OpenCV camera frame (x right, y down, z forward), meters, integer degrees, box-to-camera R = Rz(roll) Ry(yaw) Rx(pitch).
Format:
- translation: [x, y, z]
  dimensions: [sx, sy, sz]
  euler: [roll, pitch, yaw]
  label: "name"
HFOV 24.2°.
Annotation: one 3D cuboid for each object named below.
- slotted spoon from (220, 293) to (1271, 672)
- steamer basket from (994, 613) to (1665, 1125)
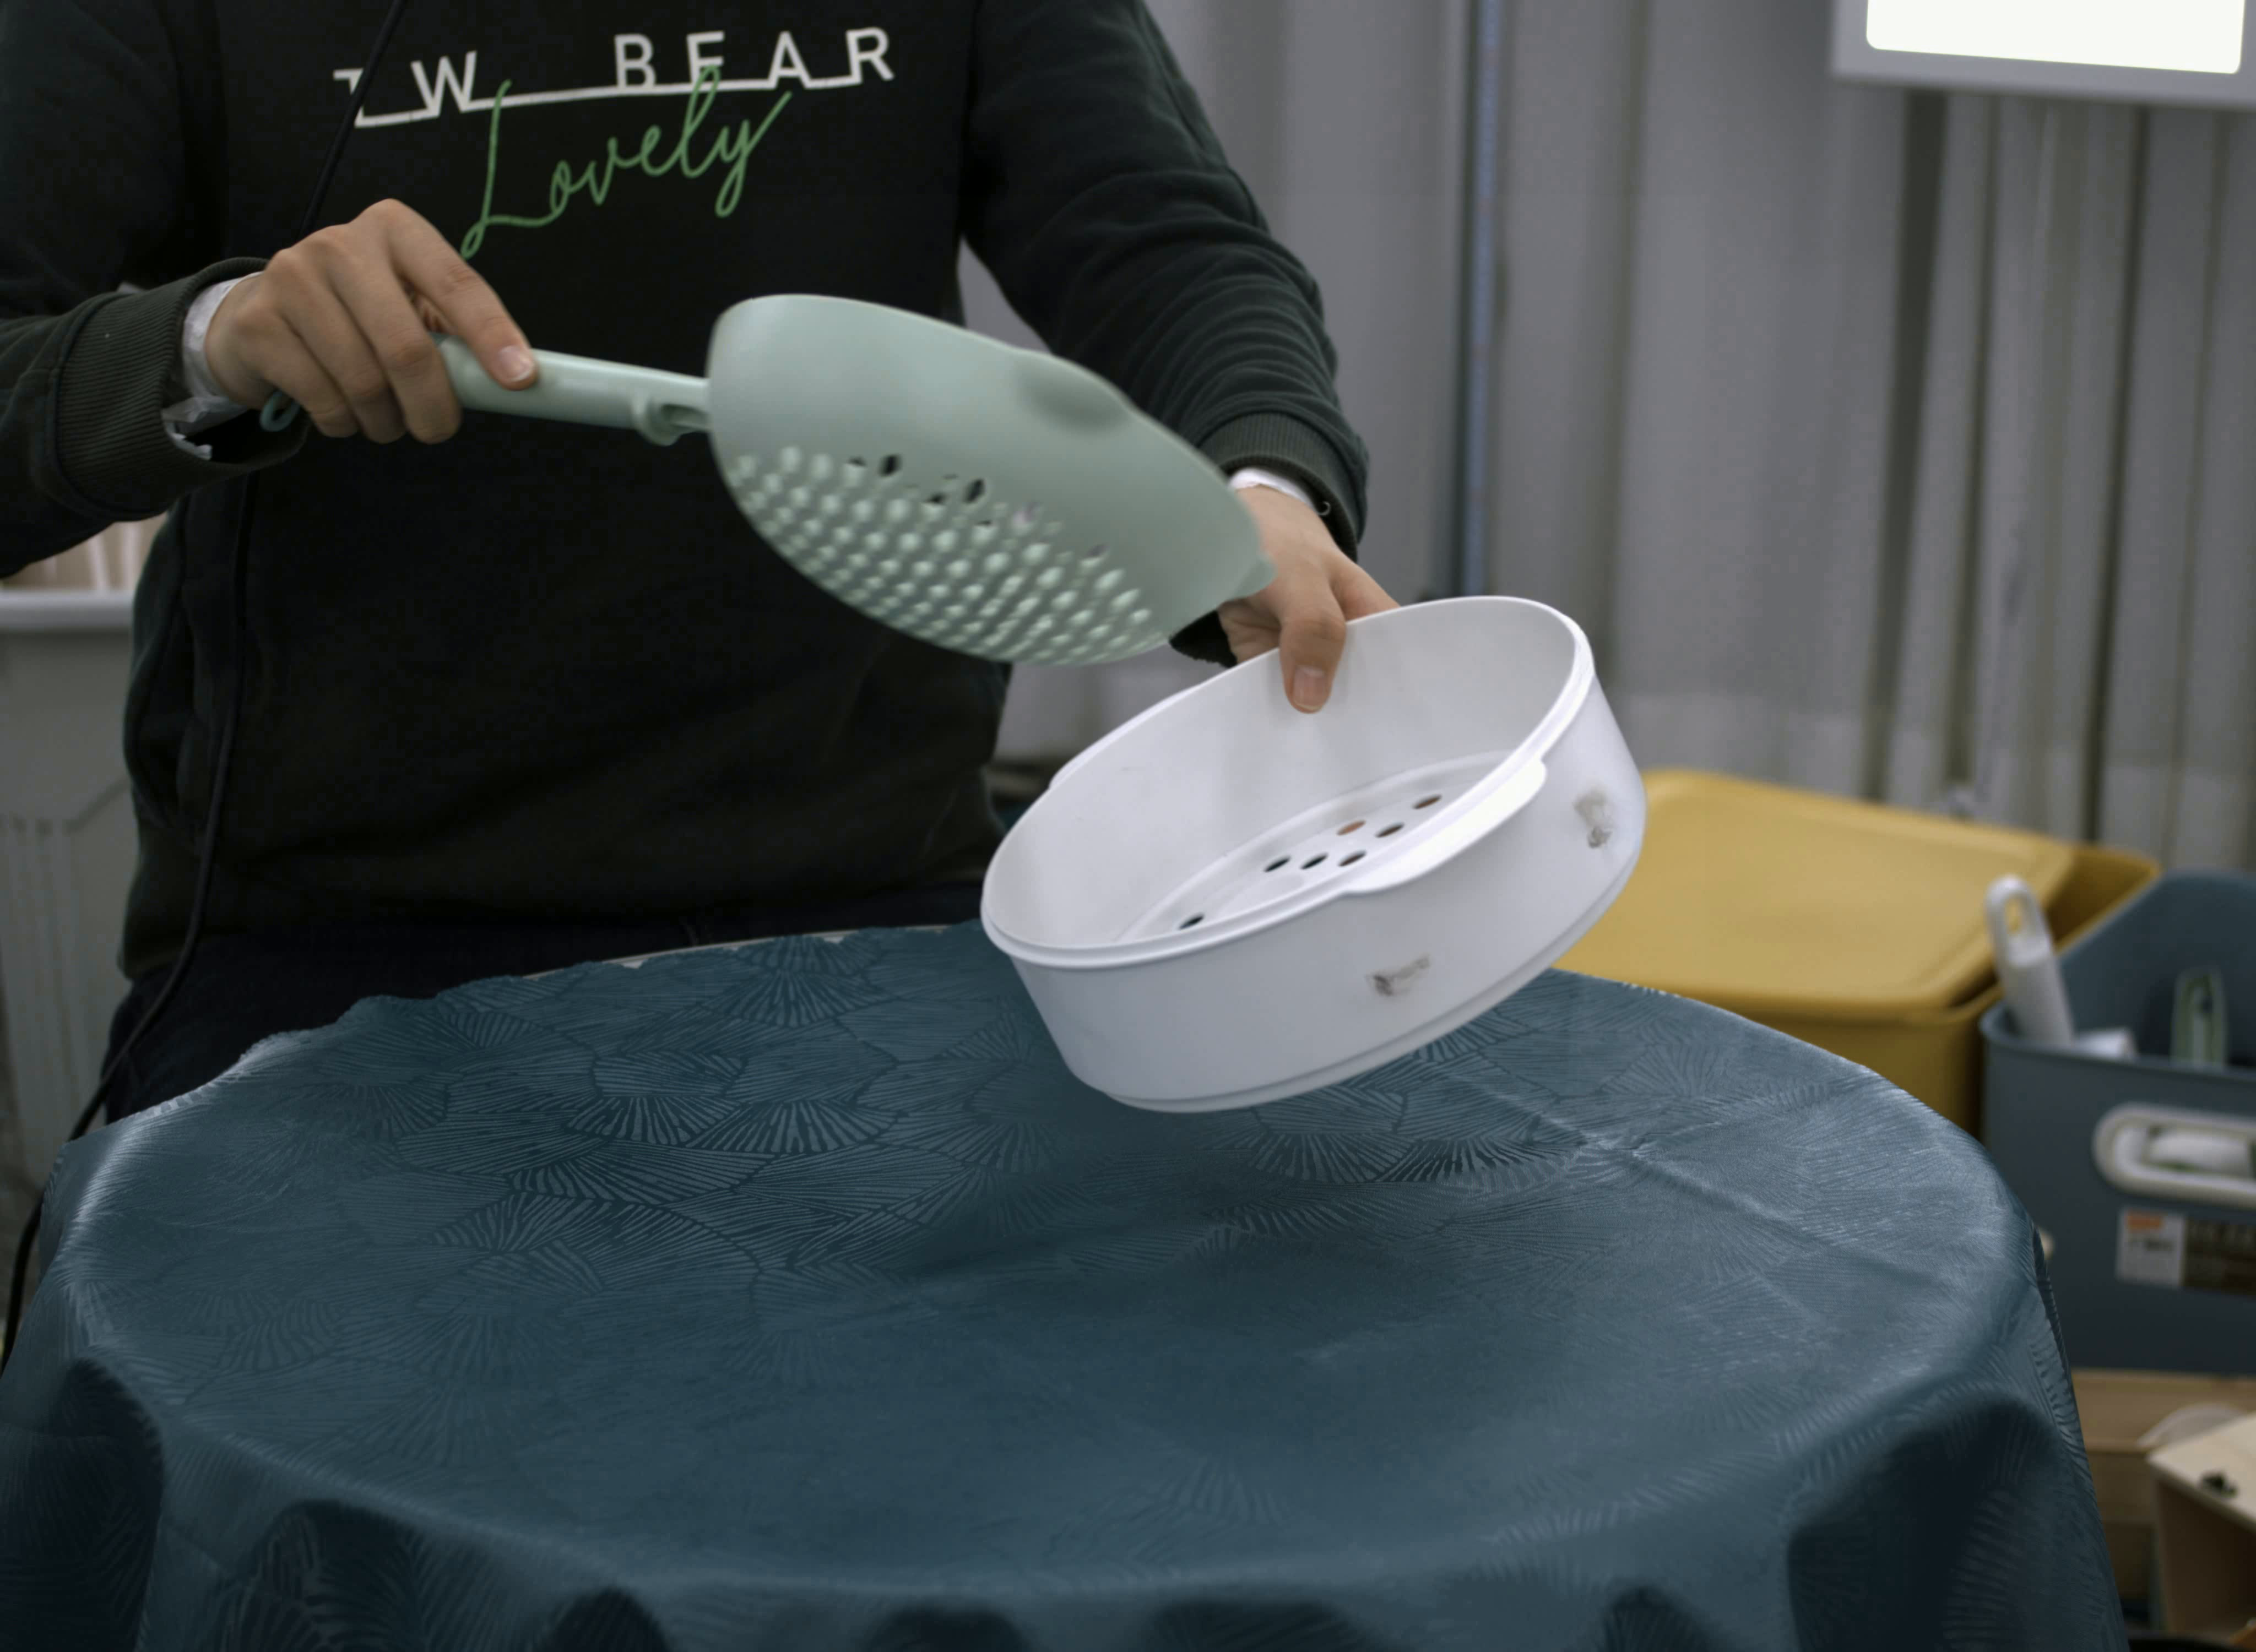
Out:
- translation: [-0.128, -0.116, 1.559]
  dimensions: [0.354, 0.075, 0.171]
  euler: [21, -15, 33]
  label: "slotted spoon"
- translation: [0.063, 0.013, 1.576]
  dimensions: [0.202, 0.070, 0.228]
  euler: [-33, 22, -20]
  label: "steamer basket"
